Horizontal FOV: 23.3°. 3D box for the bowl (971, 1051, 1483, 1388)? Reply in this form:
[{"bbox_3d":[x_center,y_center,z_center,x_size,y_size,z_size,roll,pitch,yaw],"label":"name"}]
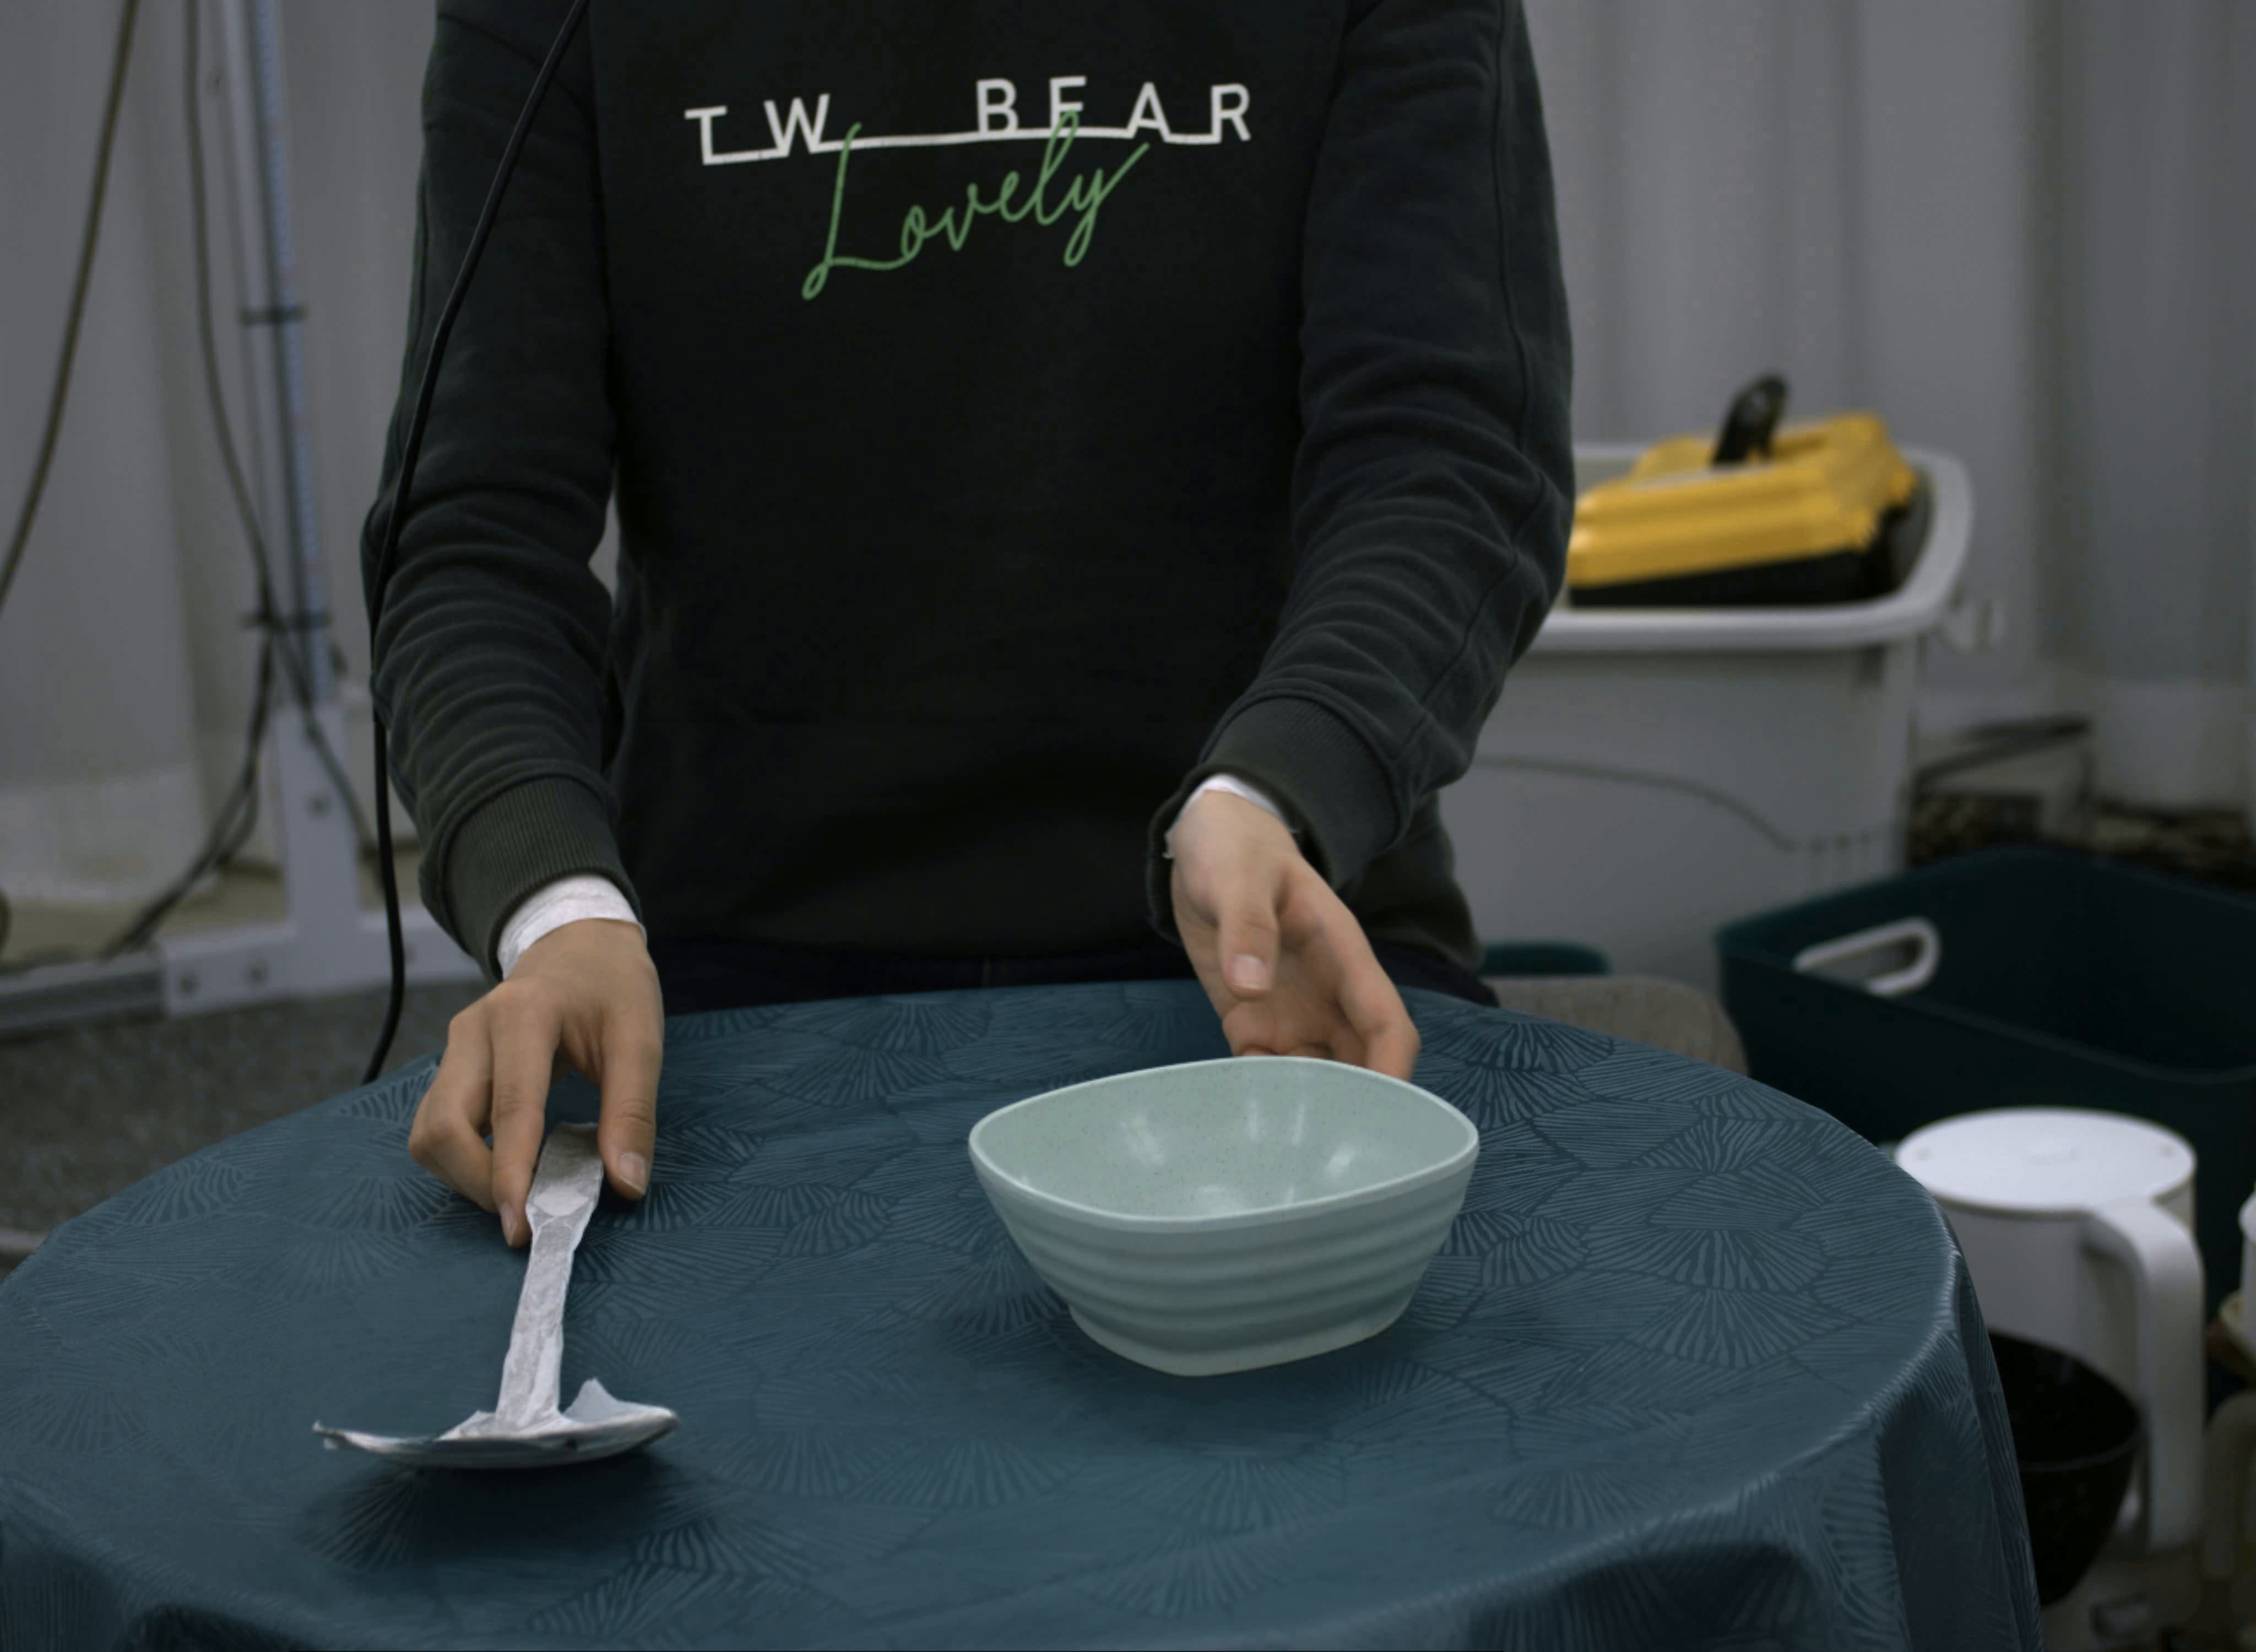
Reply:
[{"bbox_3d":[0.029,0.118,1.592,0.151,0.058,0.152,-2,17,0],"label":"bowl"}]

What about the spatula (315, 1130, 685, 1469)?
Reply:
[{"bbox_3d":[-0.168,0.131,1.612,0.098,0.044,0.367,-3,15,0],"label":"spatula"}]
